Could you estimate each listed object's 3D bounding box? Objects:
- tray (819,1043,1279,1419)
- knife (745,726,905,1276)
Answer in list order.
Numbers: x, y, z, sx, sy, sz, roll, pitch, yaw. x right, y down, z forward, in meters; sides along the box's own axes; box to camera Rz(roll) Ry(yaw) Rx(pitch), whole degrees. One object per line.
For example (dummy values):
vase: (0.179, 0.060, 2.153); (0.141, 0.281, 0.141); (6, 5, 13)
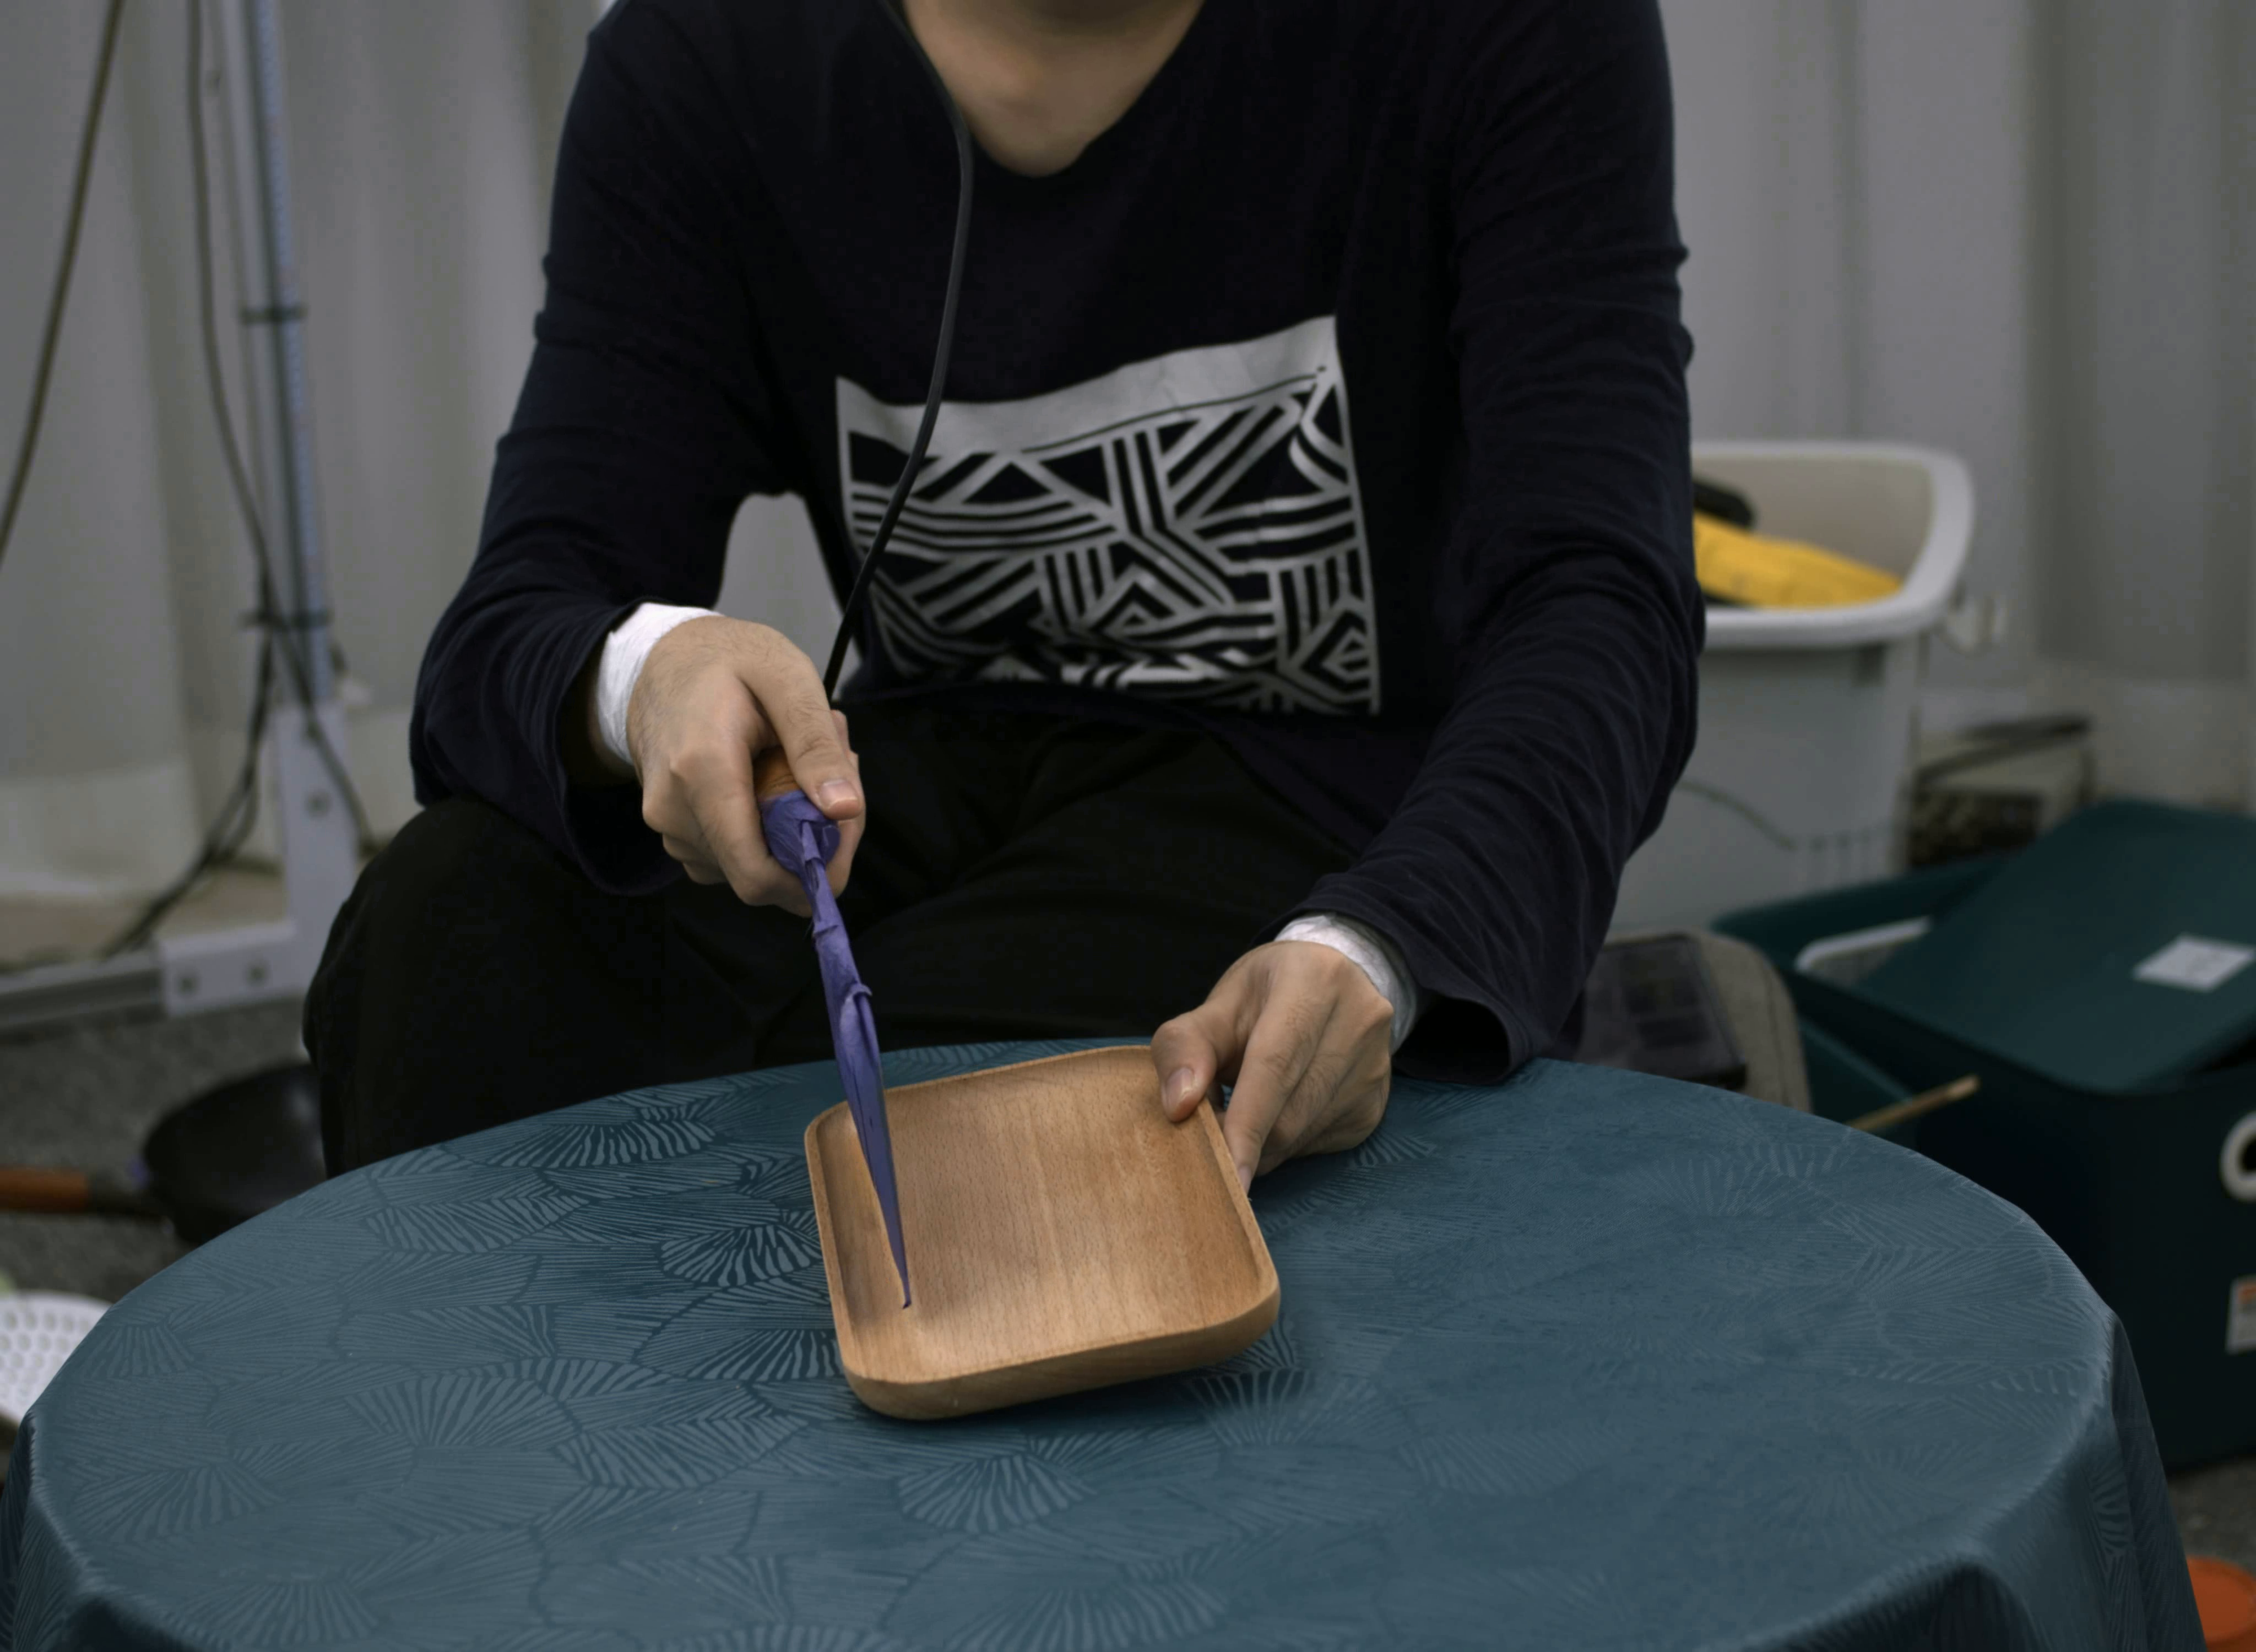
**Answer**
tray: (-0.027, 0.119, 1.641); (0.130, 0.023, 0.252); (-8, 16, -1)
knife: (-0.095, 0.052, 1.711); (0.032, 0.103, 0.318); (-7, 17, -4)
